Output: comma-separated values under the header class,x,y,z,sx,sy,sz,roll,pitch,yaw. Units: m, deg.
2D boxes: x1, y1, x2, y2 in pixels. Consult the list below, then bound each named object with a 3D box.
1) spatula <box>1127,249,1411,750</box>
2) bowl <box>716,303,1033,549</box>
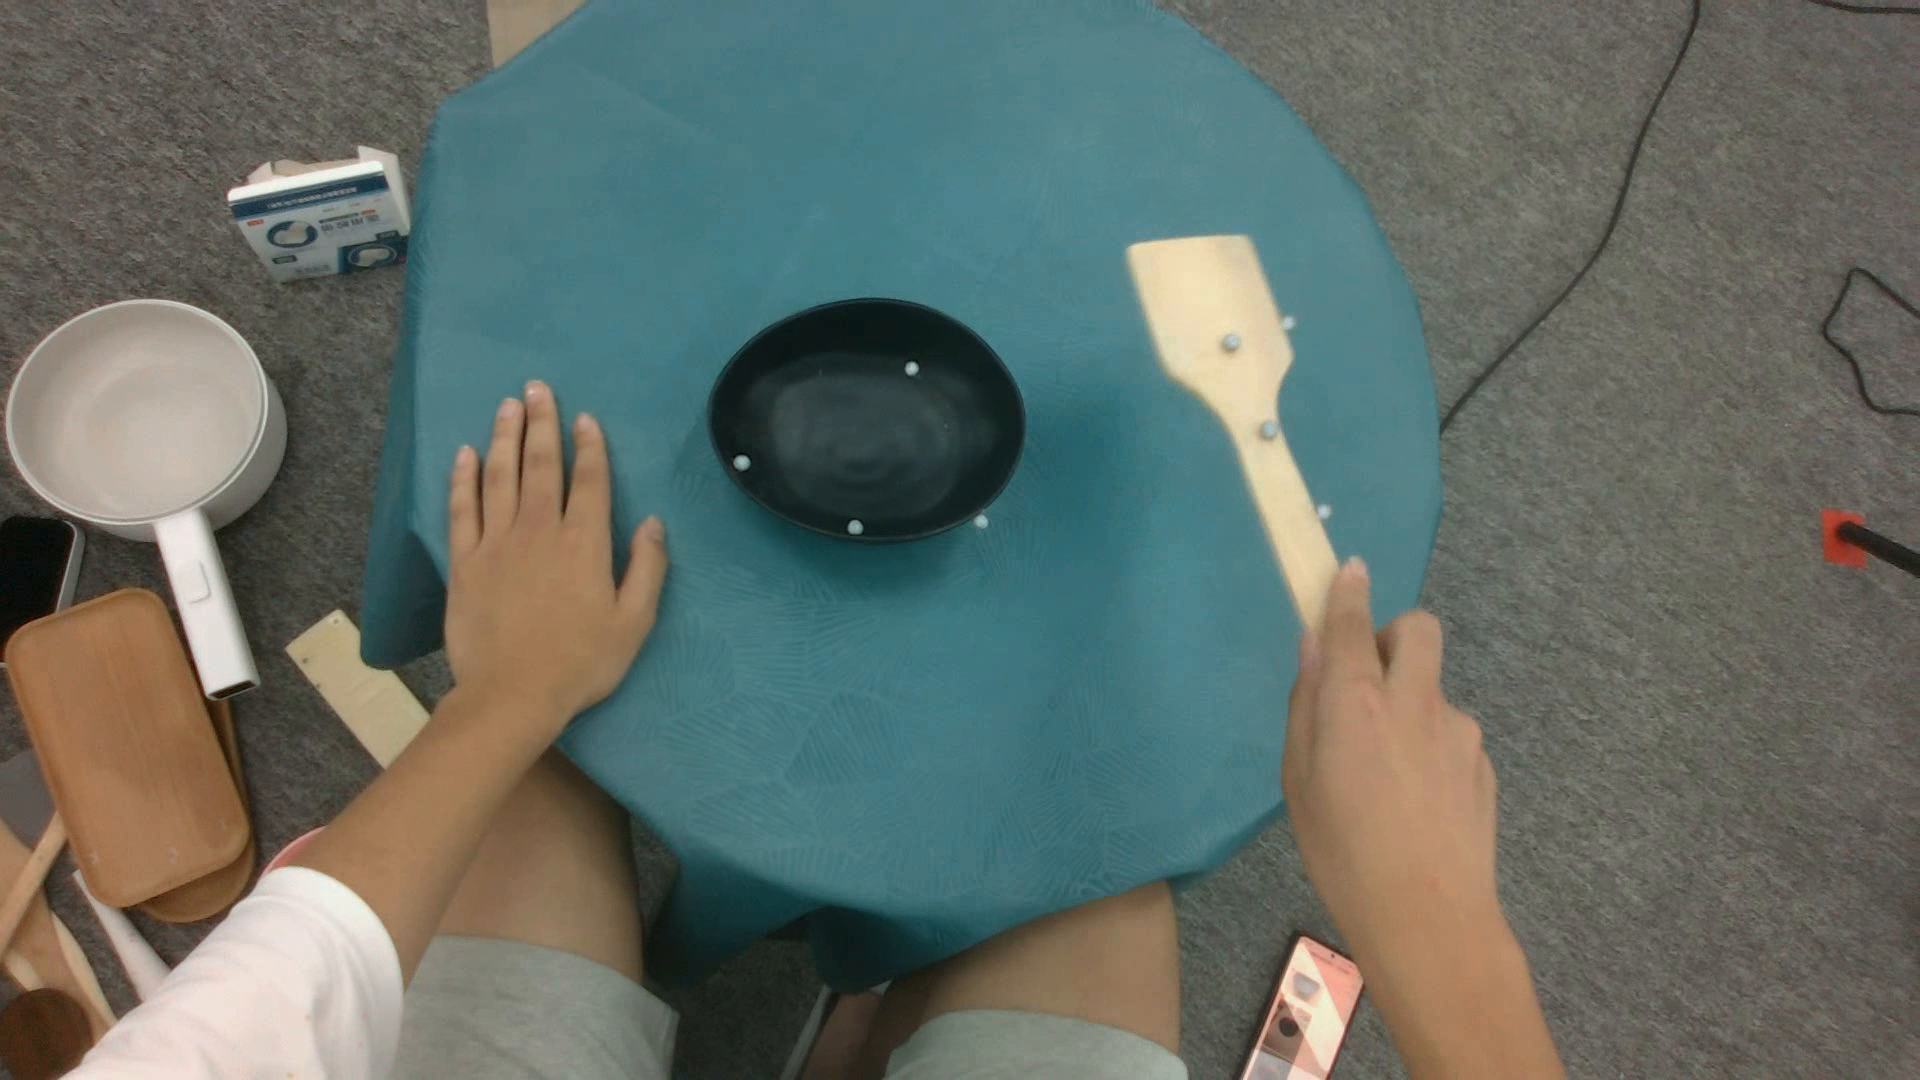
class,x,y,z,sx,sy,sz,roll,pitch,yaw
spatula,0.154,-0.032,0.670,0.072,0.010,0.294,-7,59,-13
bowl,-0.048,-0.055,0.762,0.170,0.066,0.137,-1,75,-8
